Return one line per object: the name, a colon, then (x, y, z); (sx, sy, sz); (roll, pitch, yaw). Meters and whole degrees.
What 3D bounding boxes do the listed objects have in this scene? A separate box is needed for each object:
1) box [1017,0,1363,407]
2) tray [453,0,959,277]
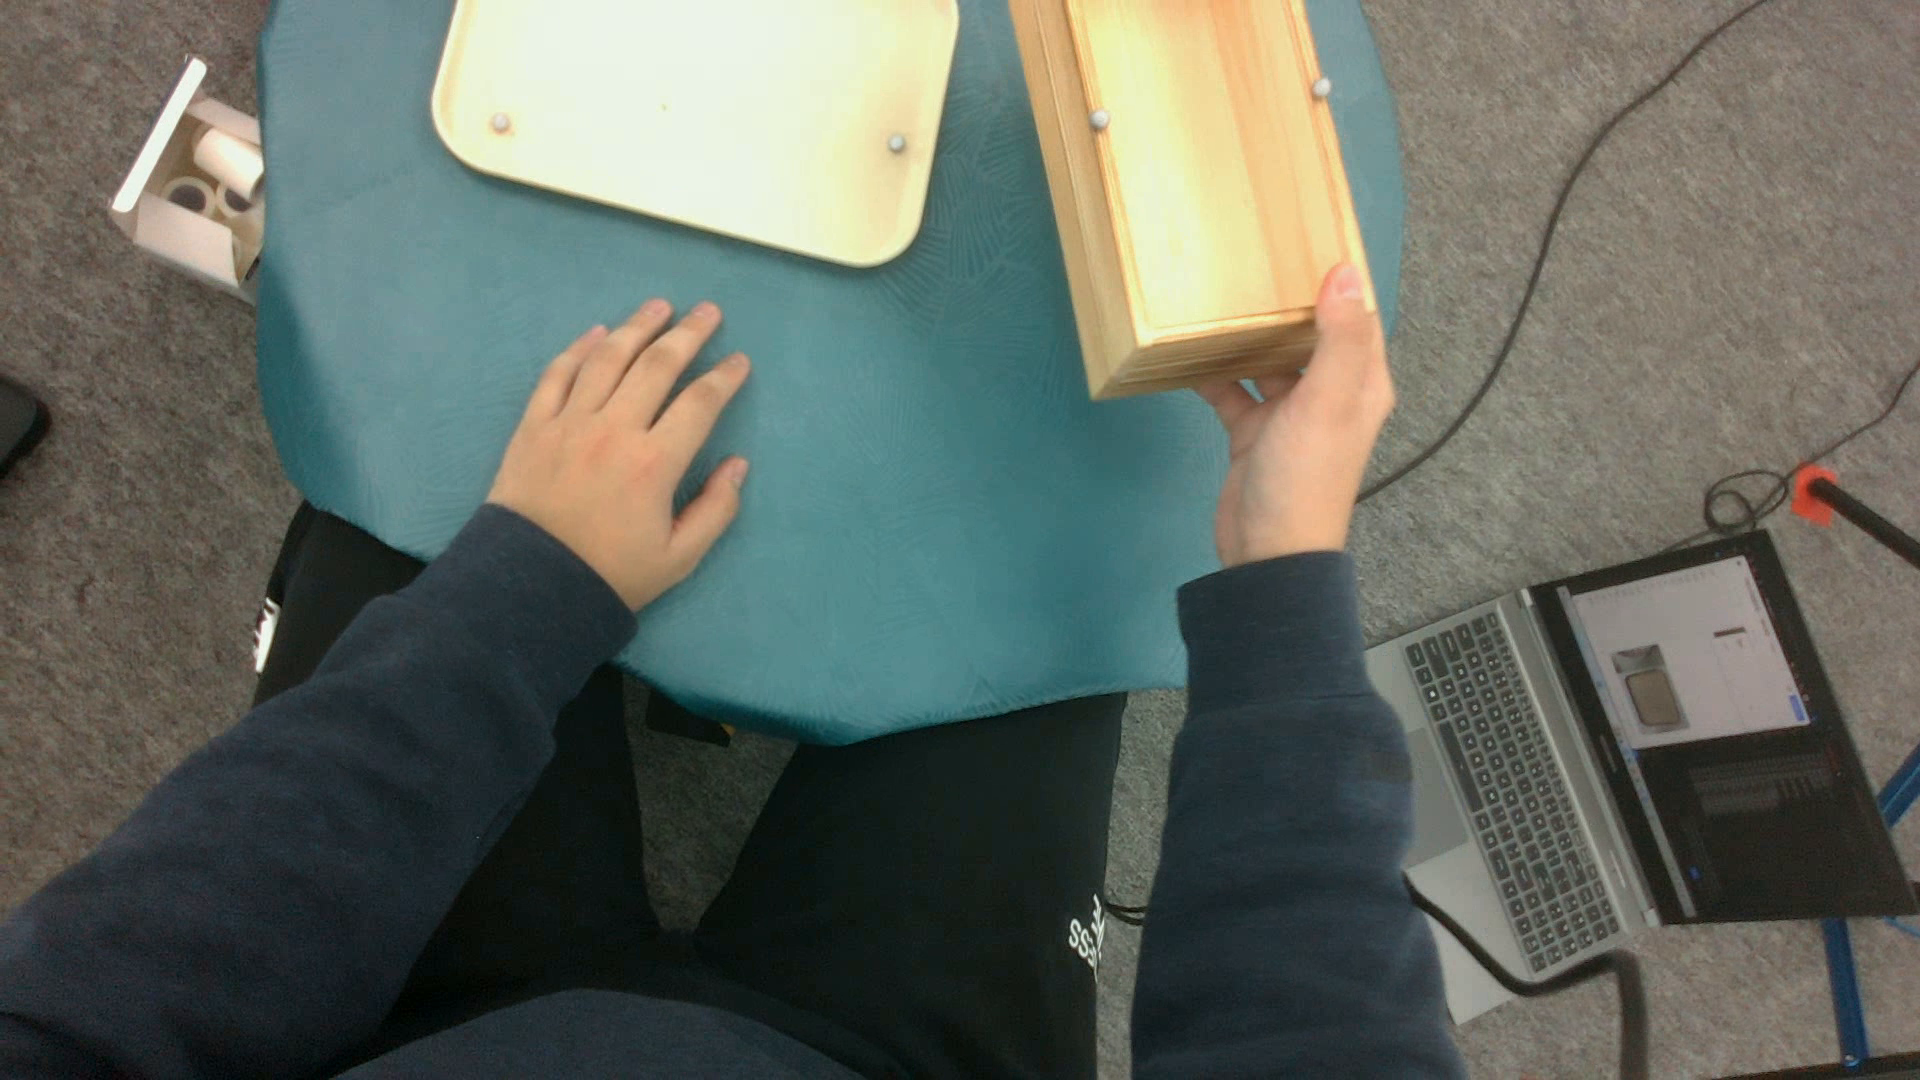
box: (0.101, -0.178, 0.640); (0.107, 0.080, 0.211); (-9, 80, -8)
tray: (-0.126, -0.235, 0.711); (0.240, 0.017, 0.171); (11, 81, -12)
